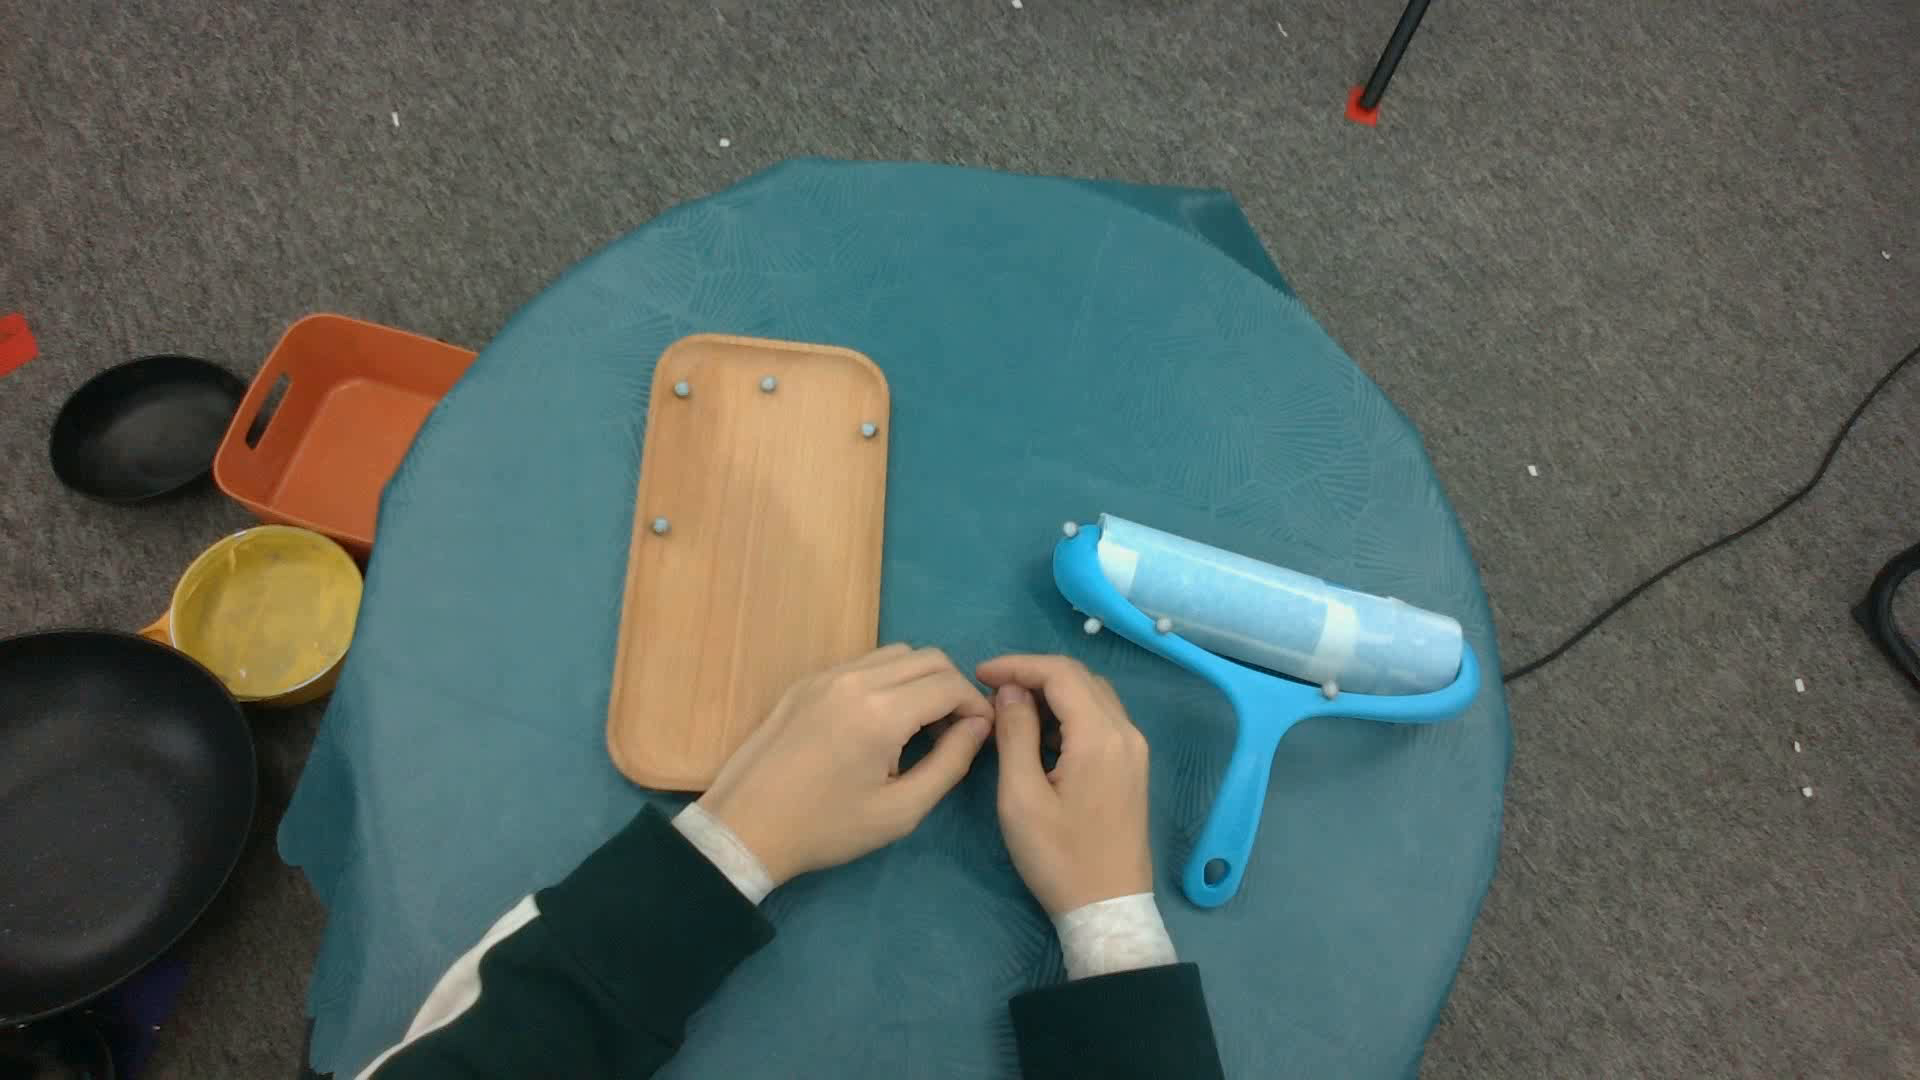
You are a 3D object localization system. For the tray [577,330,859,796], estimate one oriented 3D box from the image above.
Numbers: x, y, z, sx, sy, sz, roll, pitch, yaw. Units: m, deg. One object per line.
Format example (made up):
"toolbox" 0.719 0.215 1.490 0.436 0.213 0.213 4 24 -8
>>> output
"tray" -0.119 0.006 0.705 0.130 0.023 0.251 3 67 -7

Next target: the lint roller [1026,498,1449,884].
"lint roller" 0.136 0.080 0.697 0.229 0.067 0.181 13 64 -6
